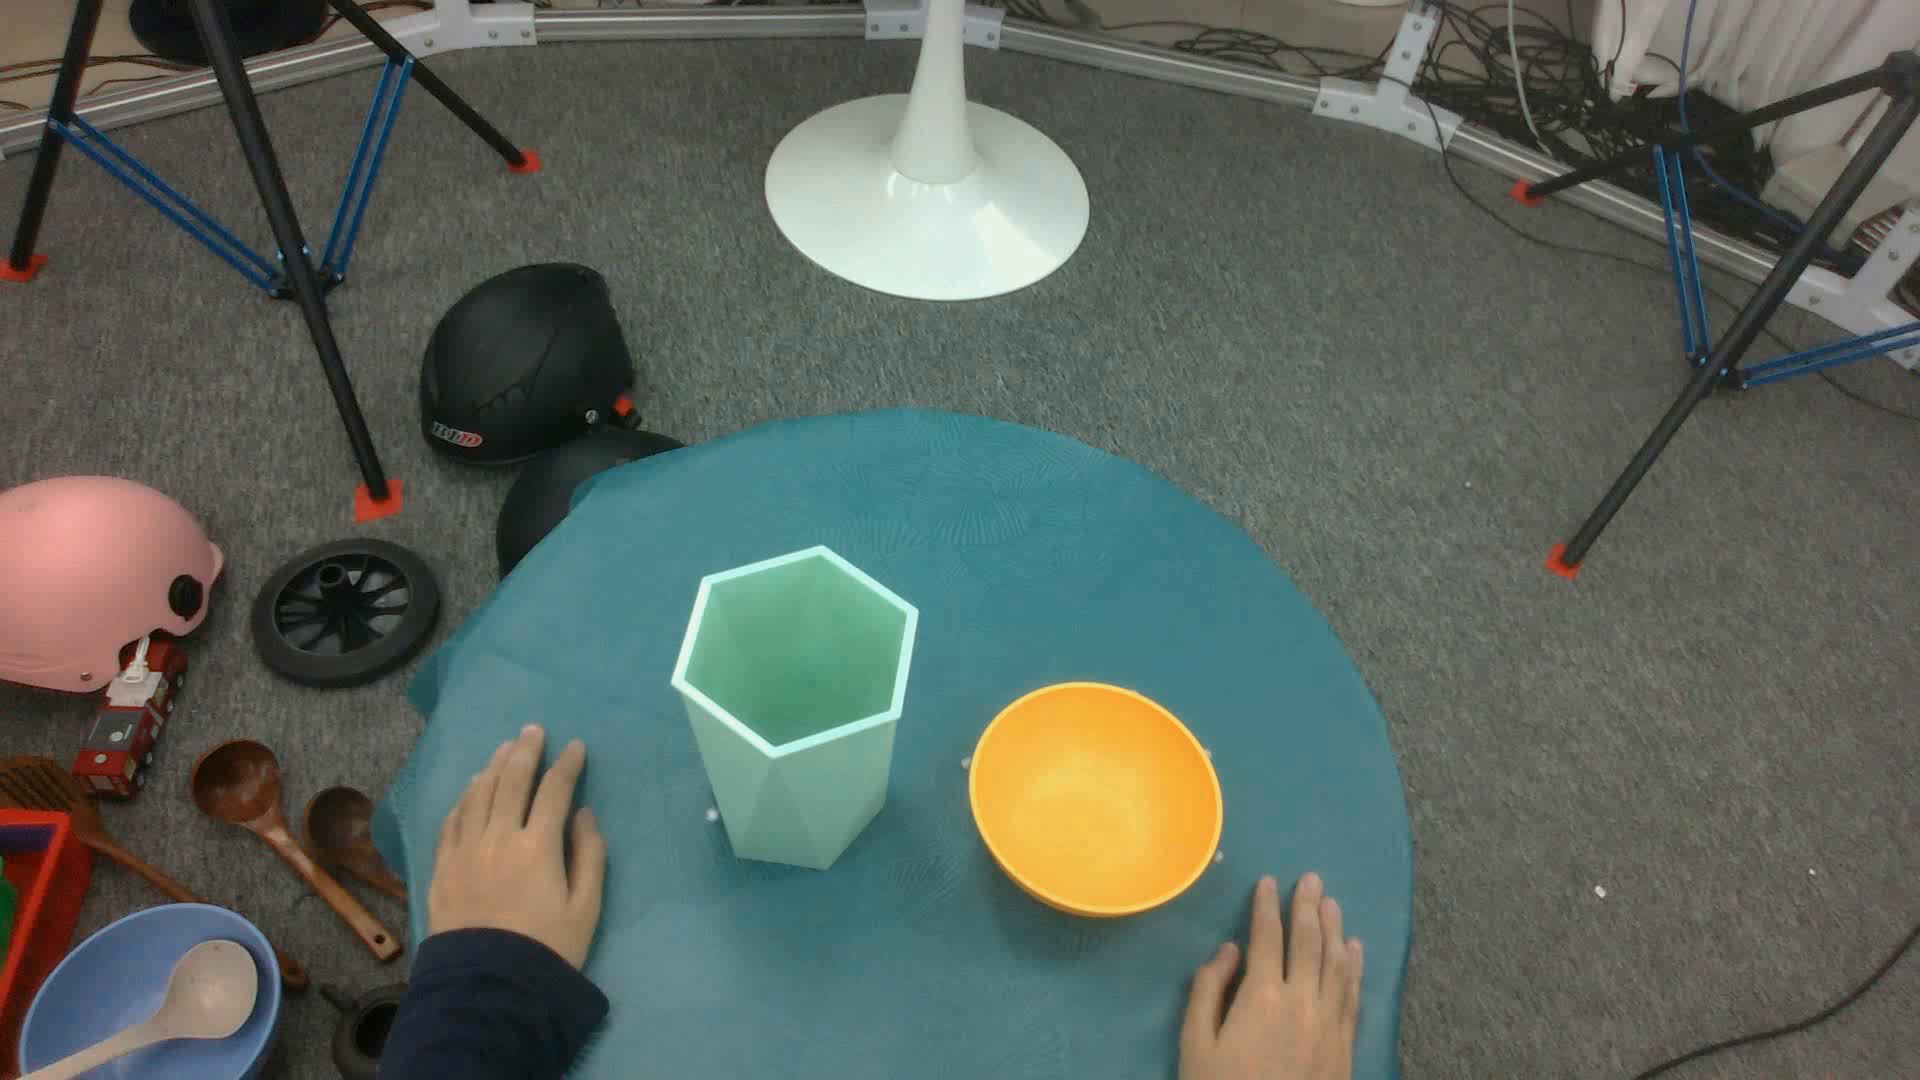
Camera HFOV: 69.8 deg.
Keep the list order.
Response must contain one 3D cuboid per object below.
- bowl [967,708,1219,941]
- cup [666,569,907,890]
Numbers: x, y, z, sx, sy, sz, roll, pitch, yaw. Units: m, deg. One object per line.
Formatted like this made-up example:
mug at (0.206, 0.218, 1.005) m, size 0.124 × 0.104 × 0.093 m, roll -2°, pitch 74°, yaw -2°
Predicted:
bowl at (0.075, 0.175, 0.811) m, size 0.145 × 0.060 × 0.146 m, roll 2°, pitch 52°, yaw -3°
cup at (-0.093, 0.115, 0.768) m, size 0.131 × 0.162 × 0.116 m, roll 30°, pitch 55°, yaw 18°
